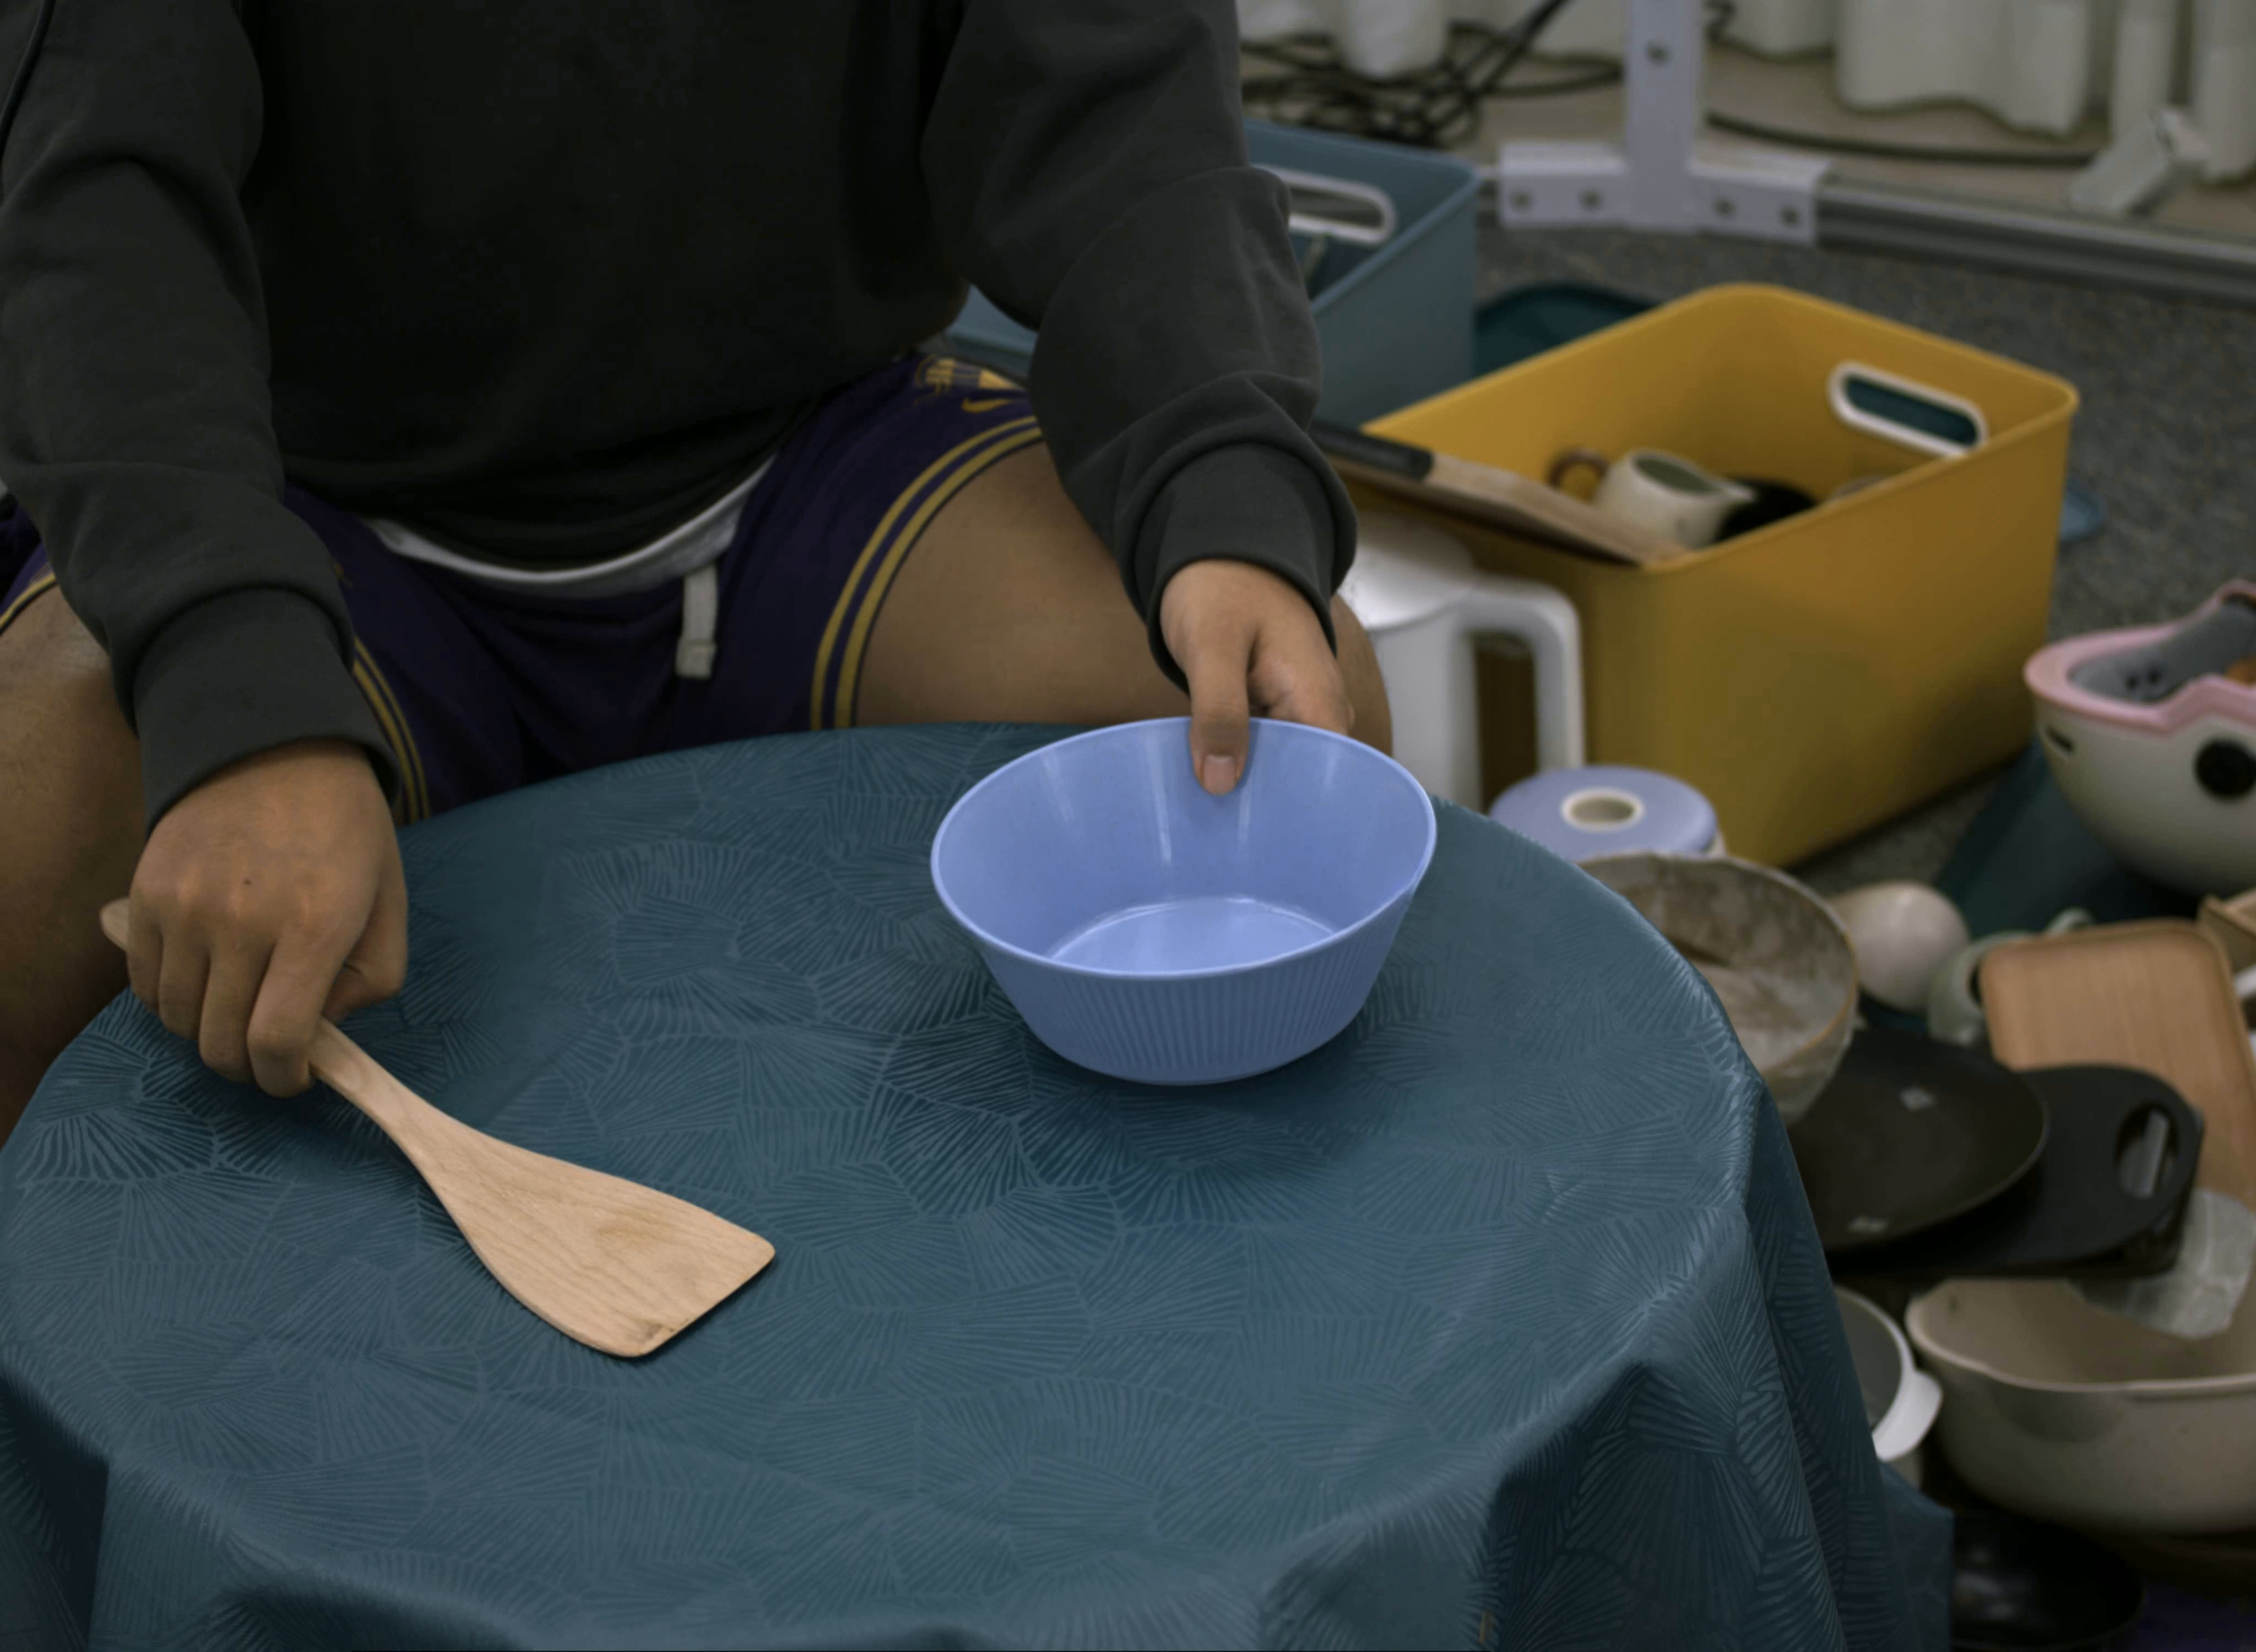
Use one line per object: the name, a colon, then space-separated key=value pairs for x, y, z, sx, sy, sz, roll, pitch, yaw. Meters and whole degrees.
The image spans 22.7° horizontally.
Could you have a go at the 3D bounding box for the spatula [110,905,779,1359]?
spatula: x=-0.243 y=0.095 z=1.899 sx=0.081 sy=0.016 sz=0.328 roll=-25 pitch=42 yaw=-37

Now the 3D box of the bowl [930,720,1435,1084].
bowl: x=0.021 y=0.032 z=1.953 sx=0.175 sy=0.069 sz=0.179 roll=-3 pitch=29 yaw=2
